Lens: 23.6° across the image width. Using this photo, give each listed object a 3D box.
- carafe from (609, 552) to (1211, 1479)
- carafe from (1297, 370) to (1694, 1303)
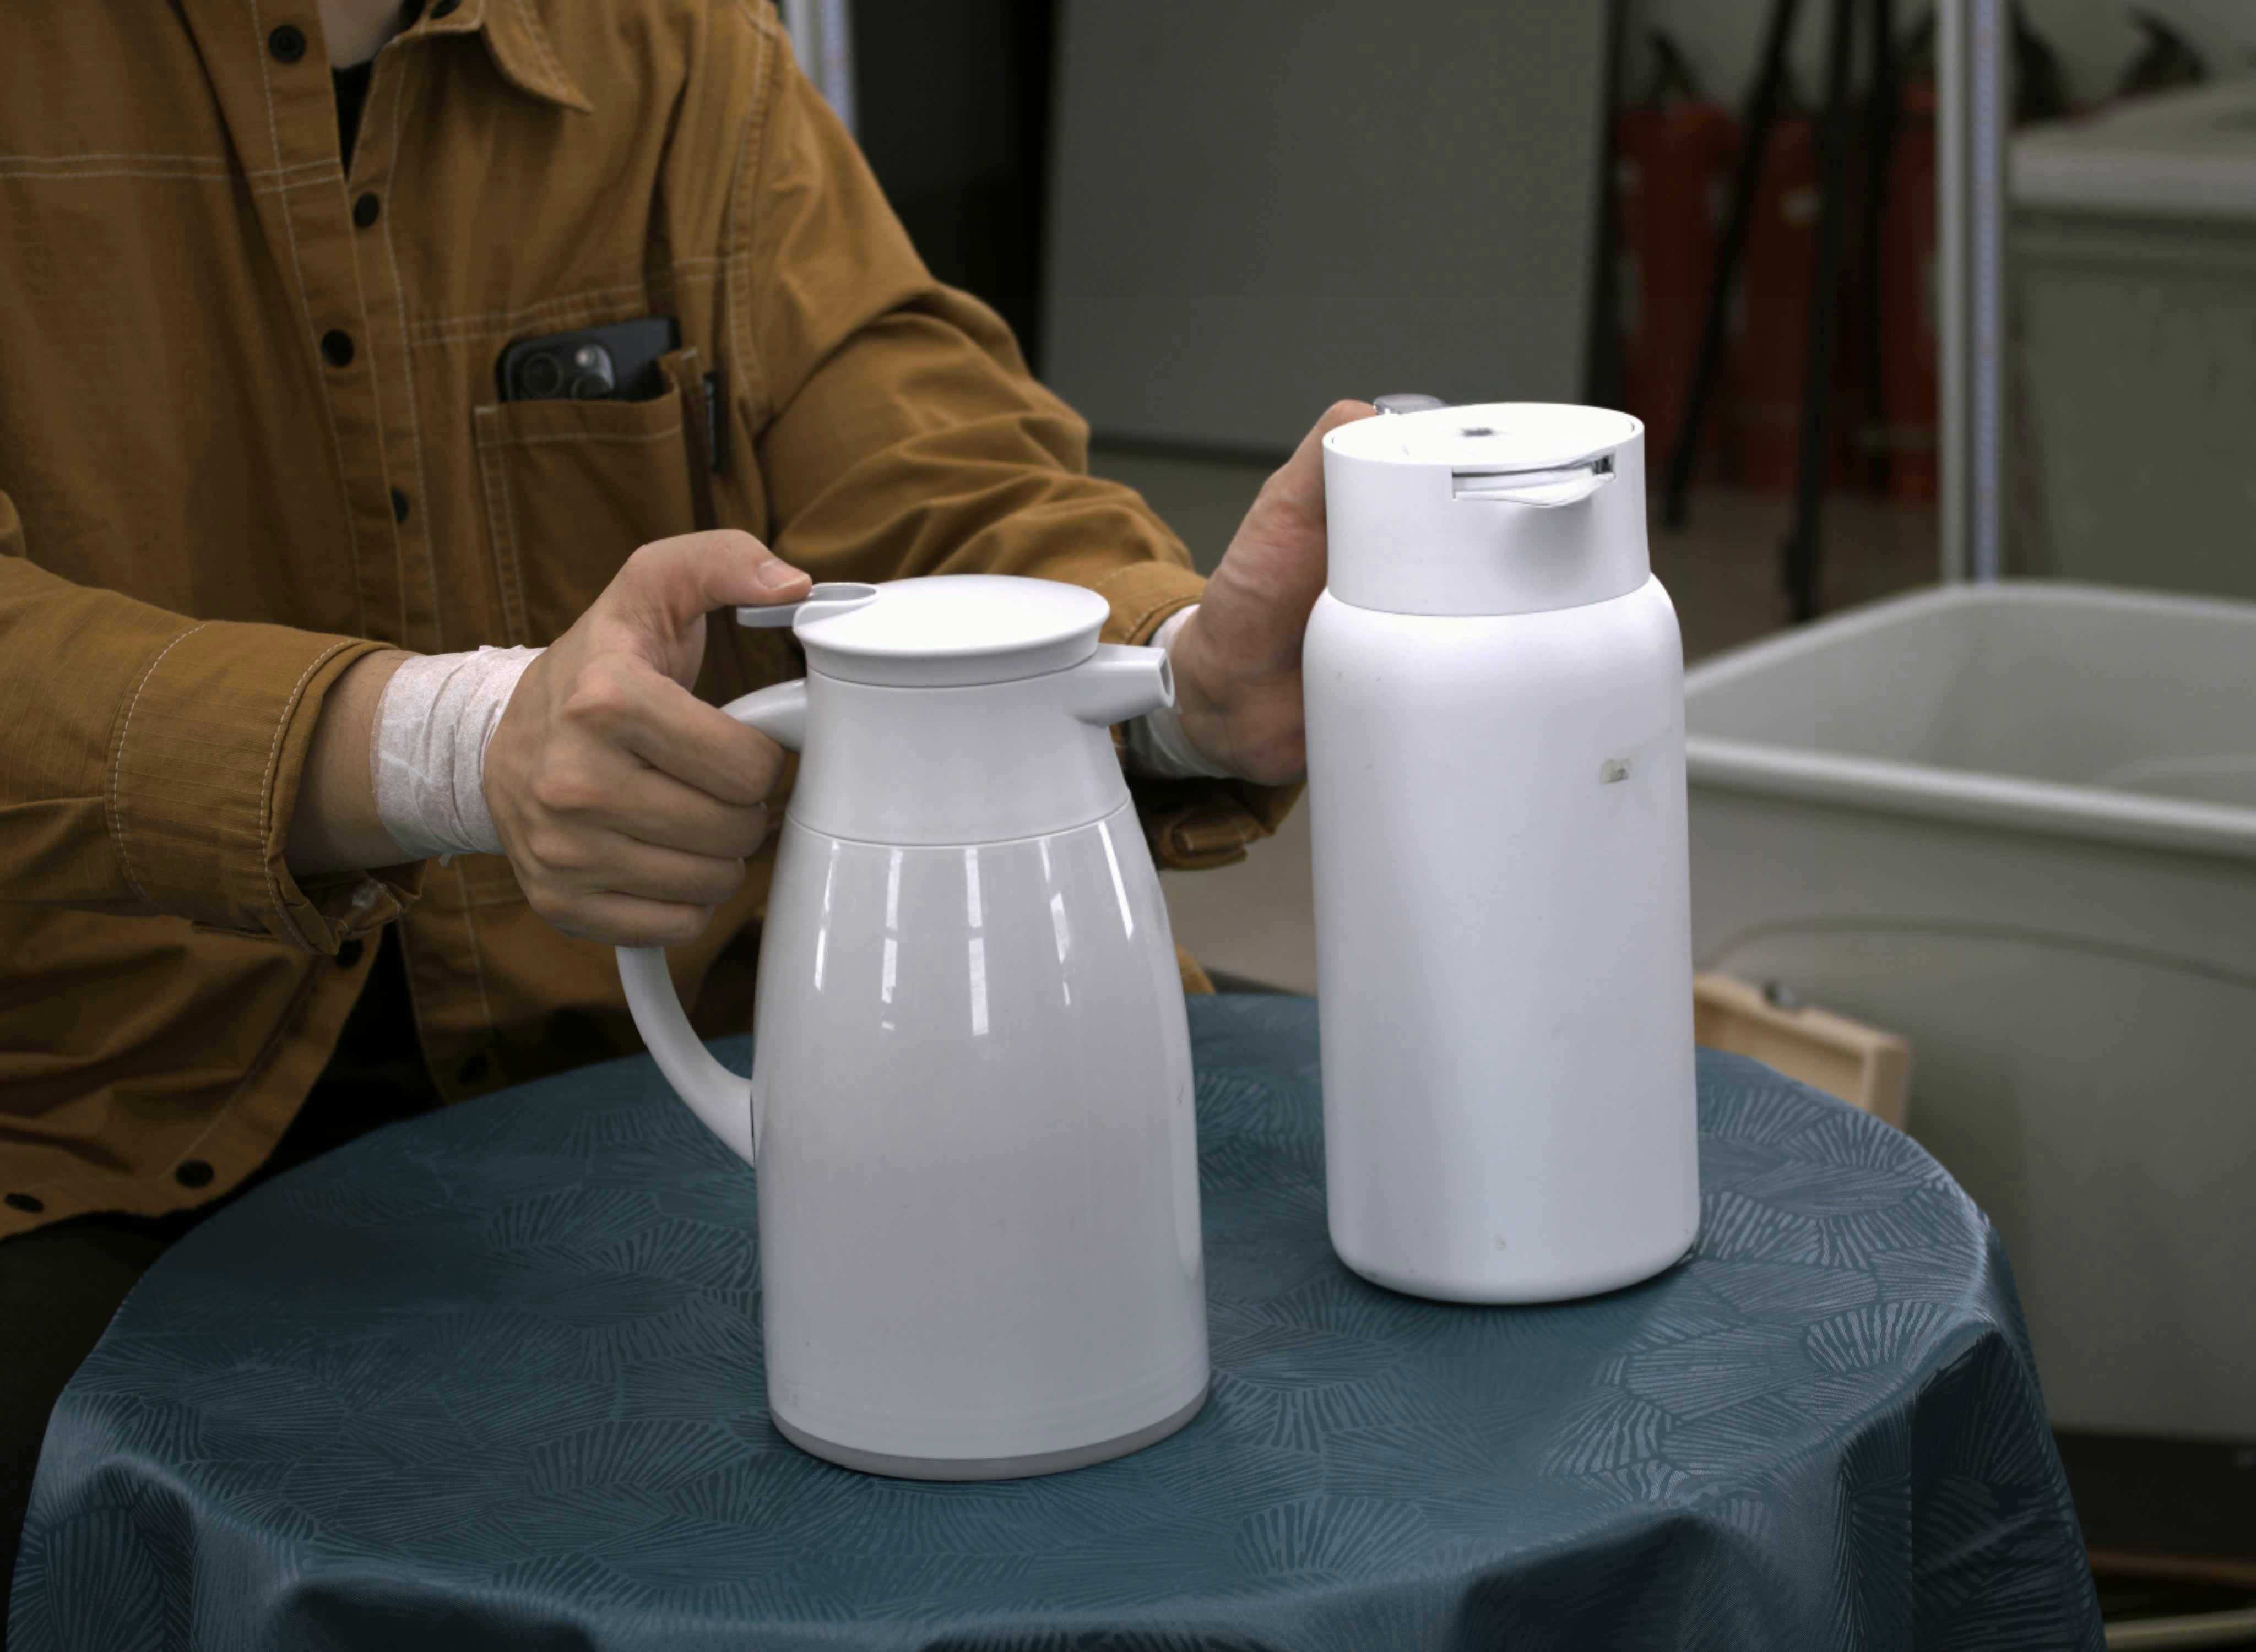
[{"bbox_3d":[-0.066,0.048,1.559,0.166,0.251,0.132,-2,14,10],"label":"carafe"},{"bbox_3d":[0.106,0.000,1.670,0.121,0.272,0.174,-10,15,-17],"label":"carafe"}]
